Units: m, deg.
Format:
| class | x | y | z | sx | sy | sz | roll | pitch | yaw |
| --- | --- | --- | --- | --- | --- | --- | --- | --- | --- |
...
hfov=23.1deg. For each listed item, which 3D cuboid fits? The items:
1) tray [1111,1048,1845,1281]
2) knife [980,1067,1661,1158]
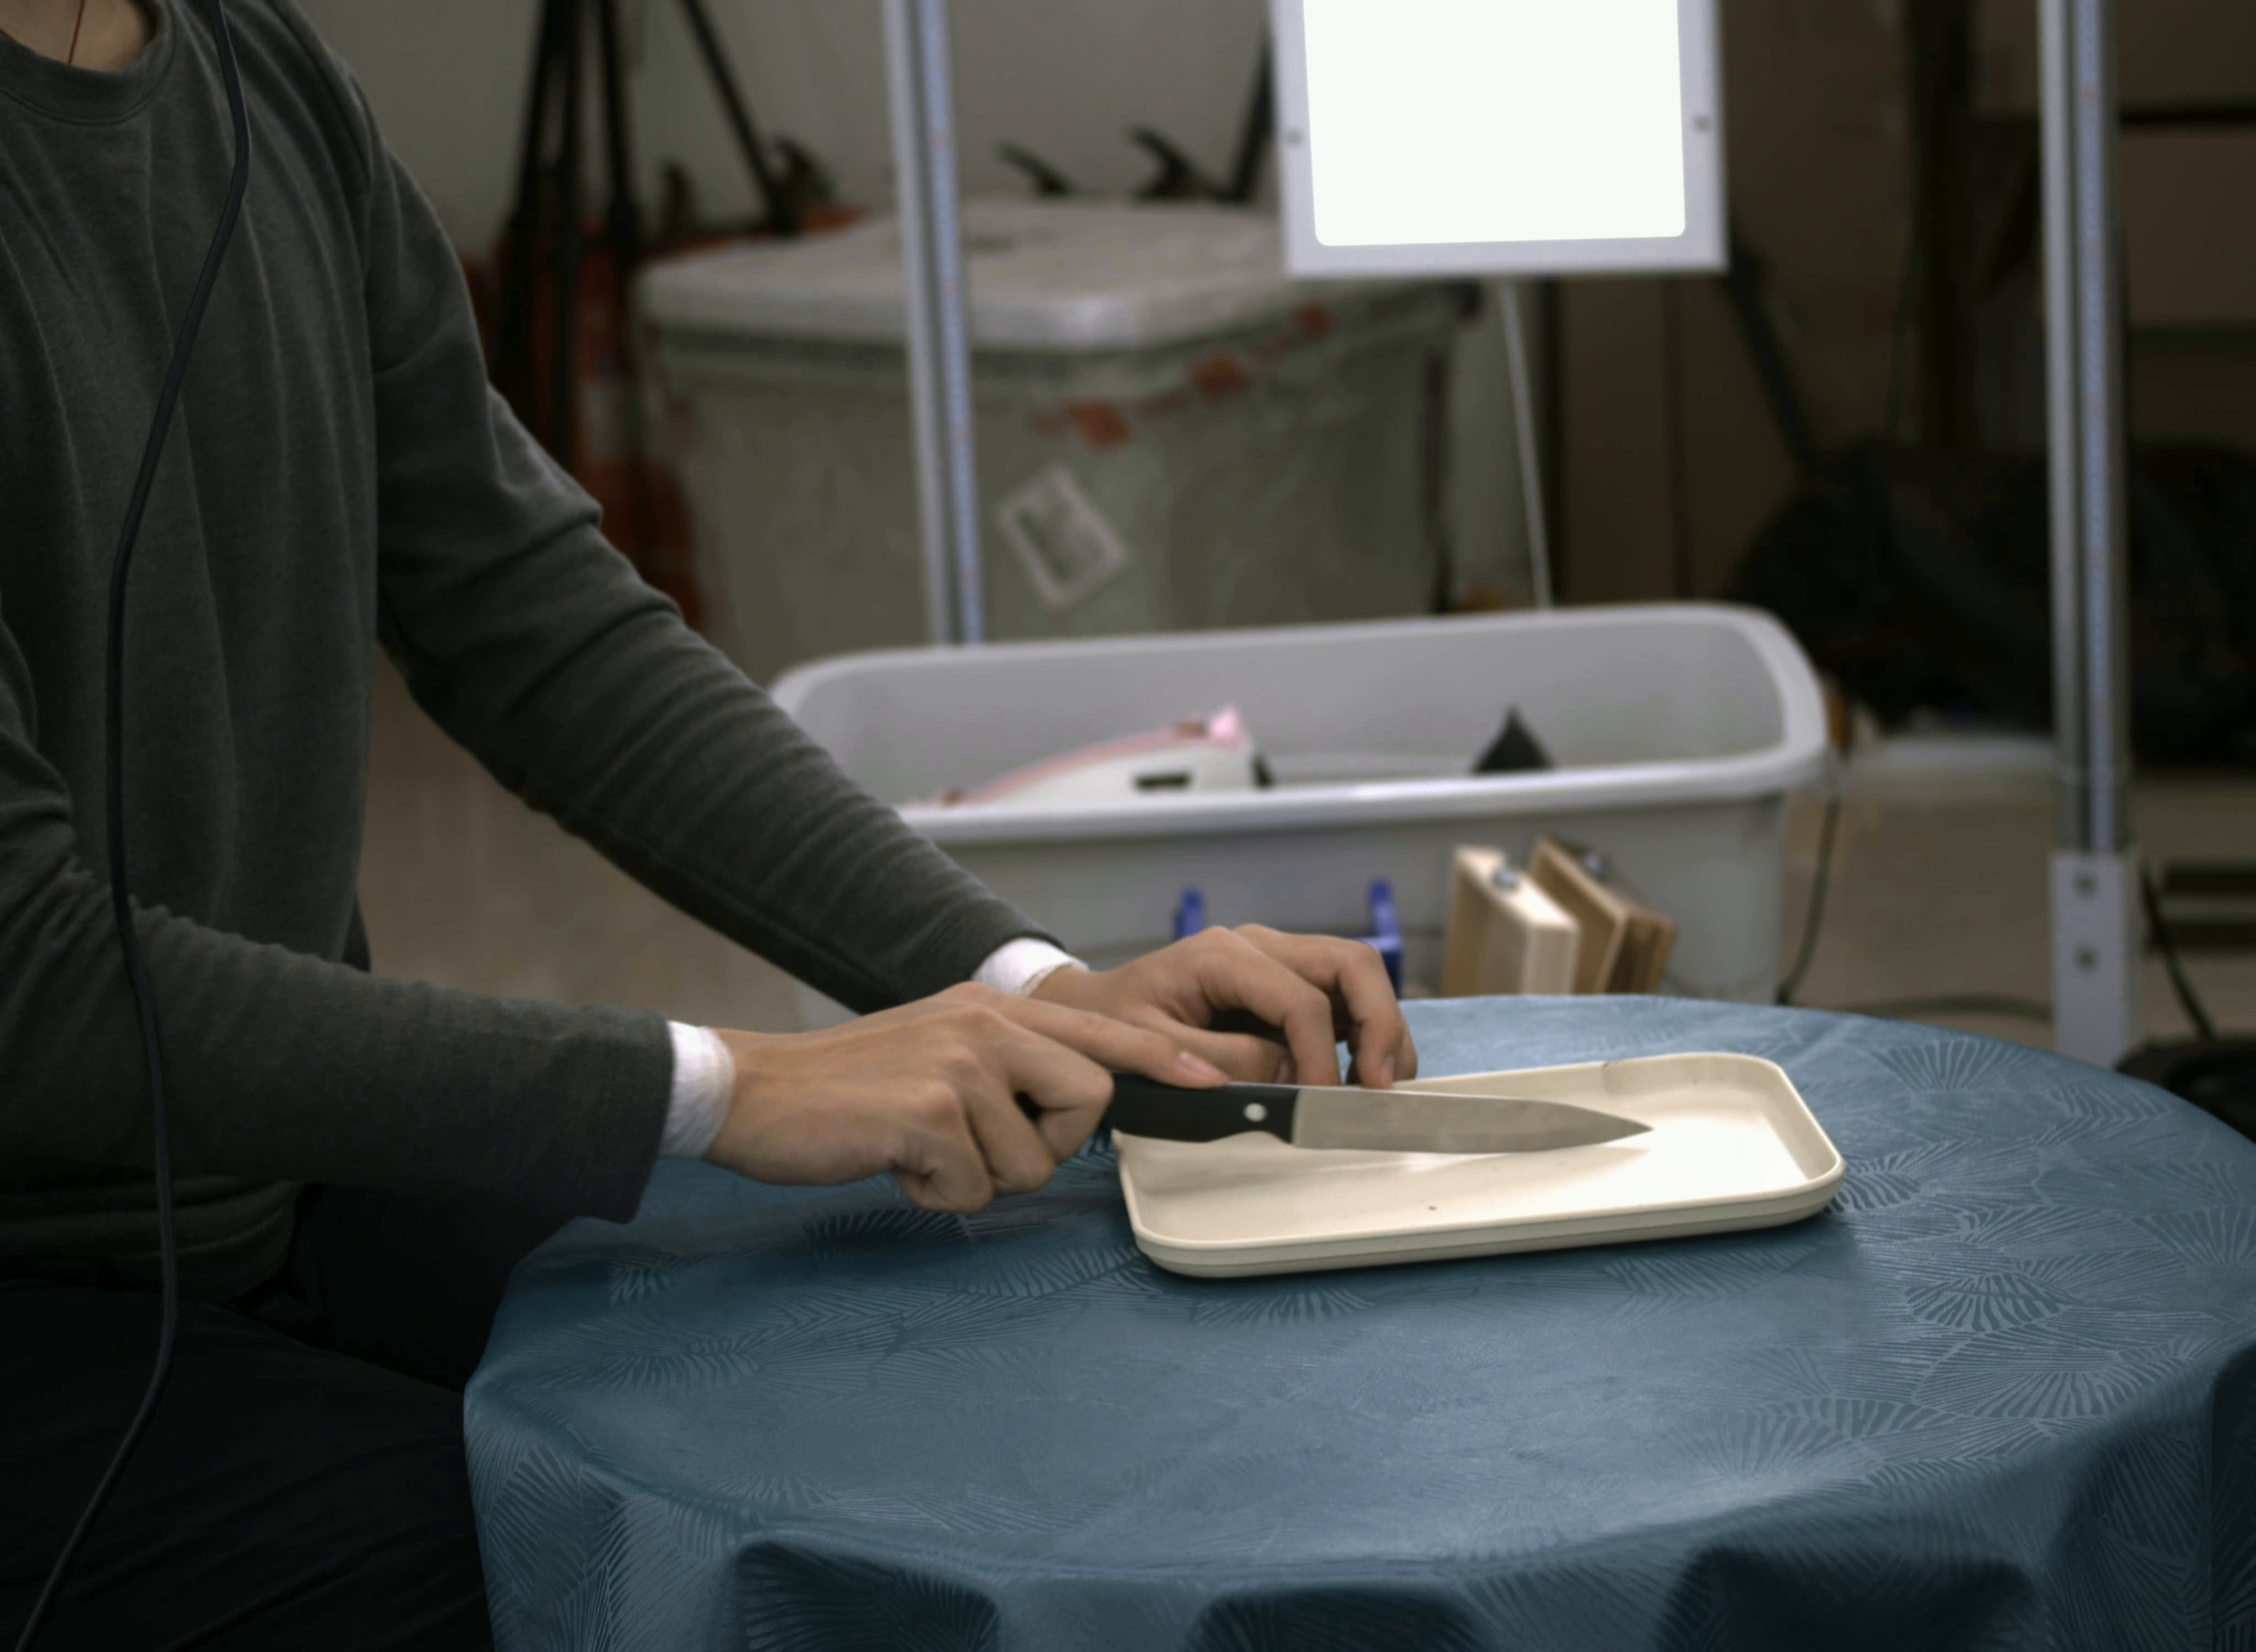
| class | x | y | z | sx | sy | sz | roll | pitch | yaw |
| --- | --- | --- | --- | --- | --- | --- | --- | --- | --- |
| tray | 0.117 | 0.115 | 1.869 | 0.239 | 0.017 | 0.171 | -5 | 14 | 0 |
| knife | 0.068 | 0.098 | 1.892 | 0.237 | 0.024 | 0.016 | 4 | 14 | -2 |
